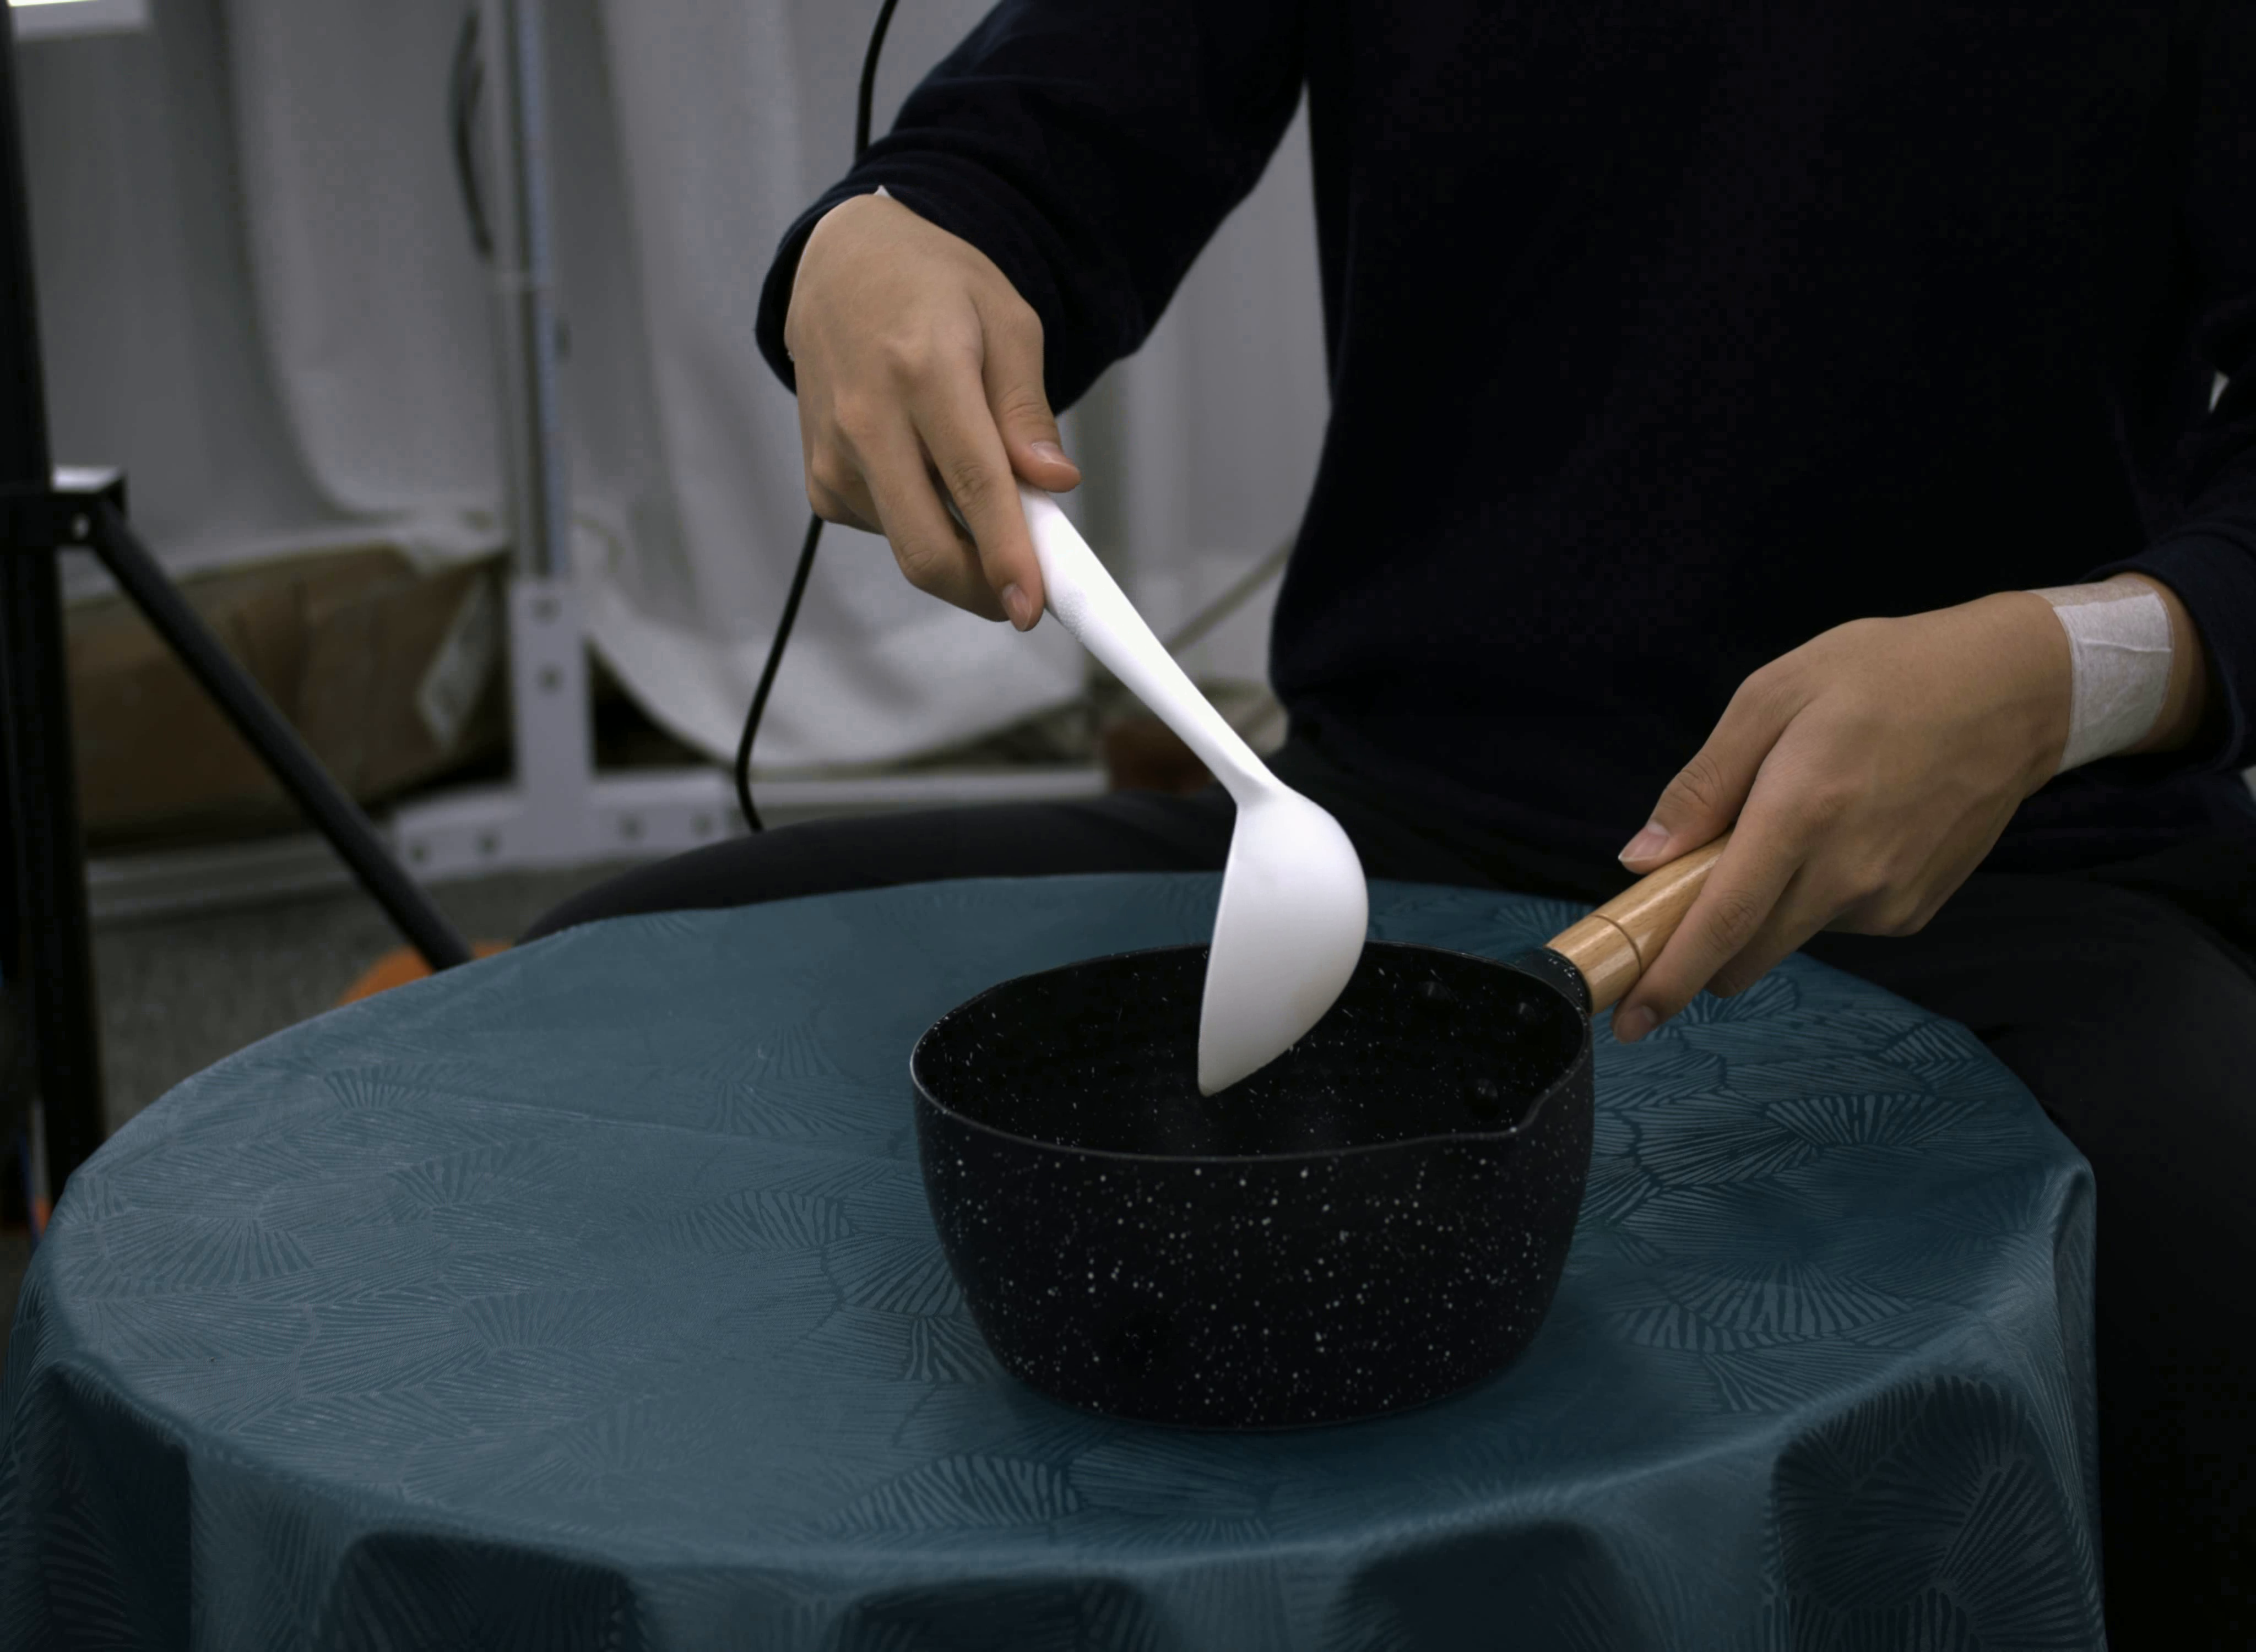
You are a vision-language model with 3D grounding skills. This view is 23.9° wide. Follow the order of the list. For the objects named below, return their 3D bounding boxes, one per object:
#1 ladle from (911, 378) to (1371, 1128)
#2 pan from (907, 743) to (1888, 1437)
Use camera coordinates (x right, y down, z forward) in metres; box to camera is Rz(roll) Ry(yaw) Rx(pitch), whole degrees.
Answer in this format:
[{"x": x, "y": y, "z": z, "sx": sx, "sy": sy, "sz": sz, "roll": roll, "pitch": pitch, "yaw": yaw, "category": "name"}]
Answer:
[{"x": -0.009, "y": -0.032, "z": 1.499, "sx": 0.069, "sy": 0.089, "sz": 0.299, "roll": -19, "pitch": 42, "yaw": -15, "category": "ladle"}, {"x": 0.092, "y": 0.068, "z": 1.477, "sx": 0.335, "sy": 0.108, "sz": 0.212, "roll": -19, "pitch": 21, "yaw": -38, "category": "pan"}]
